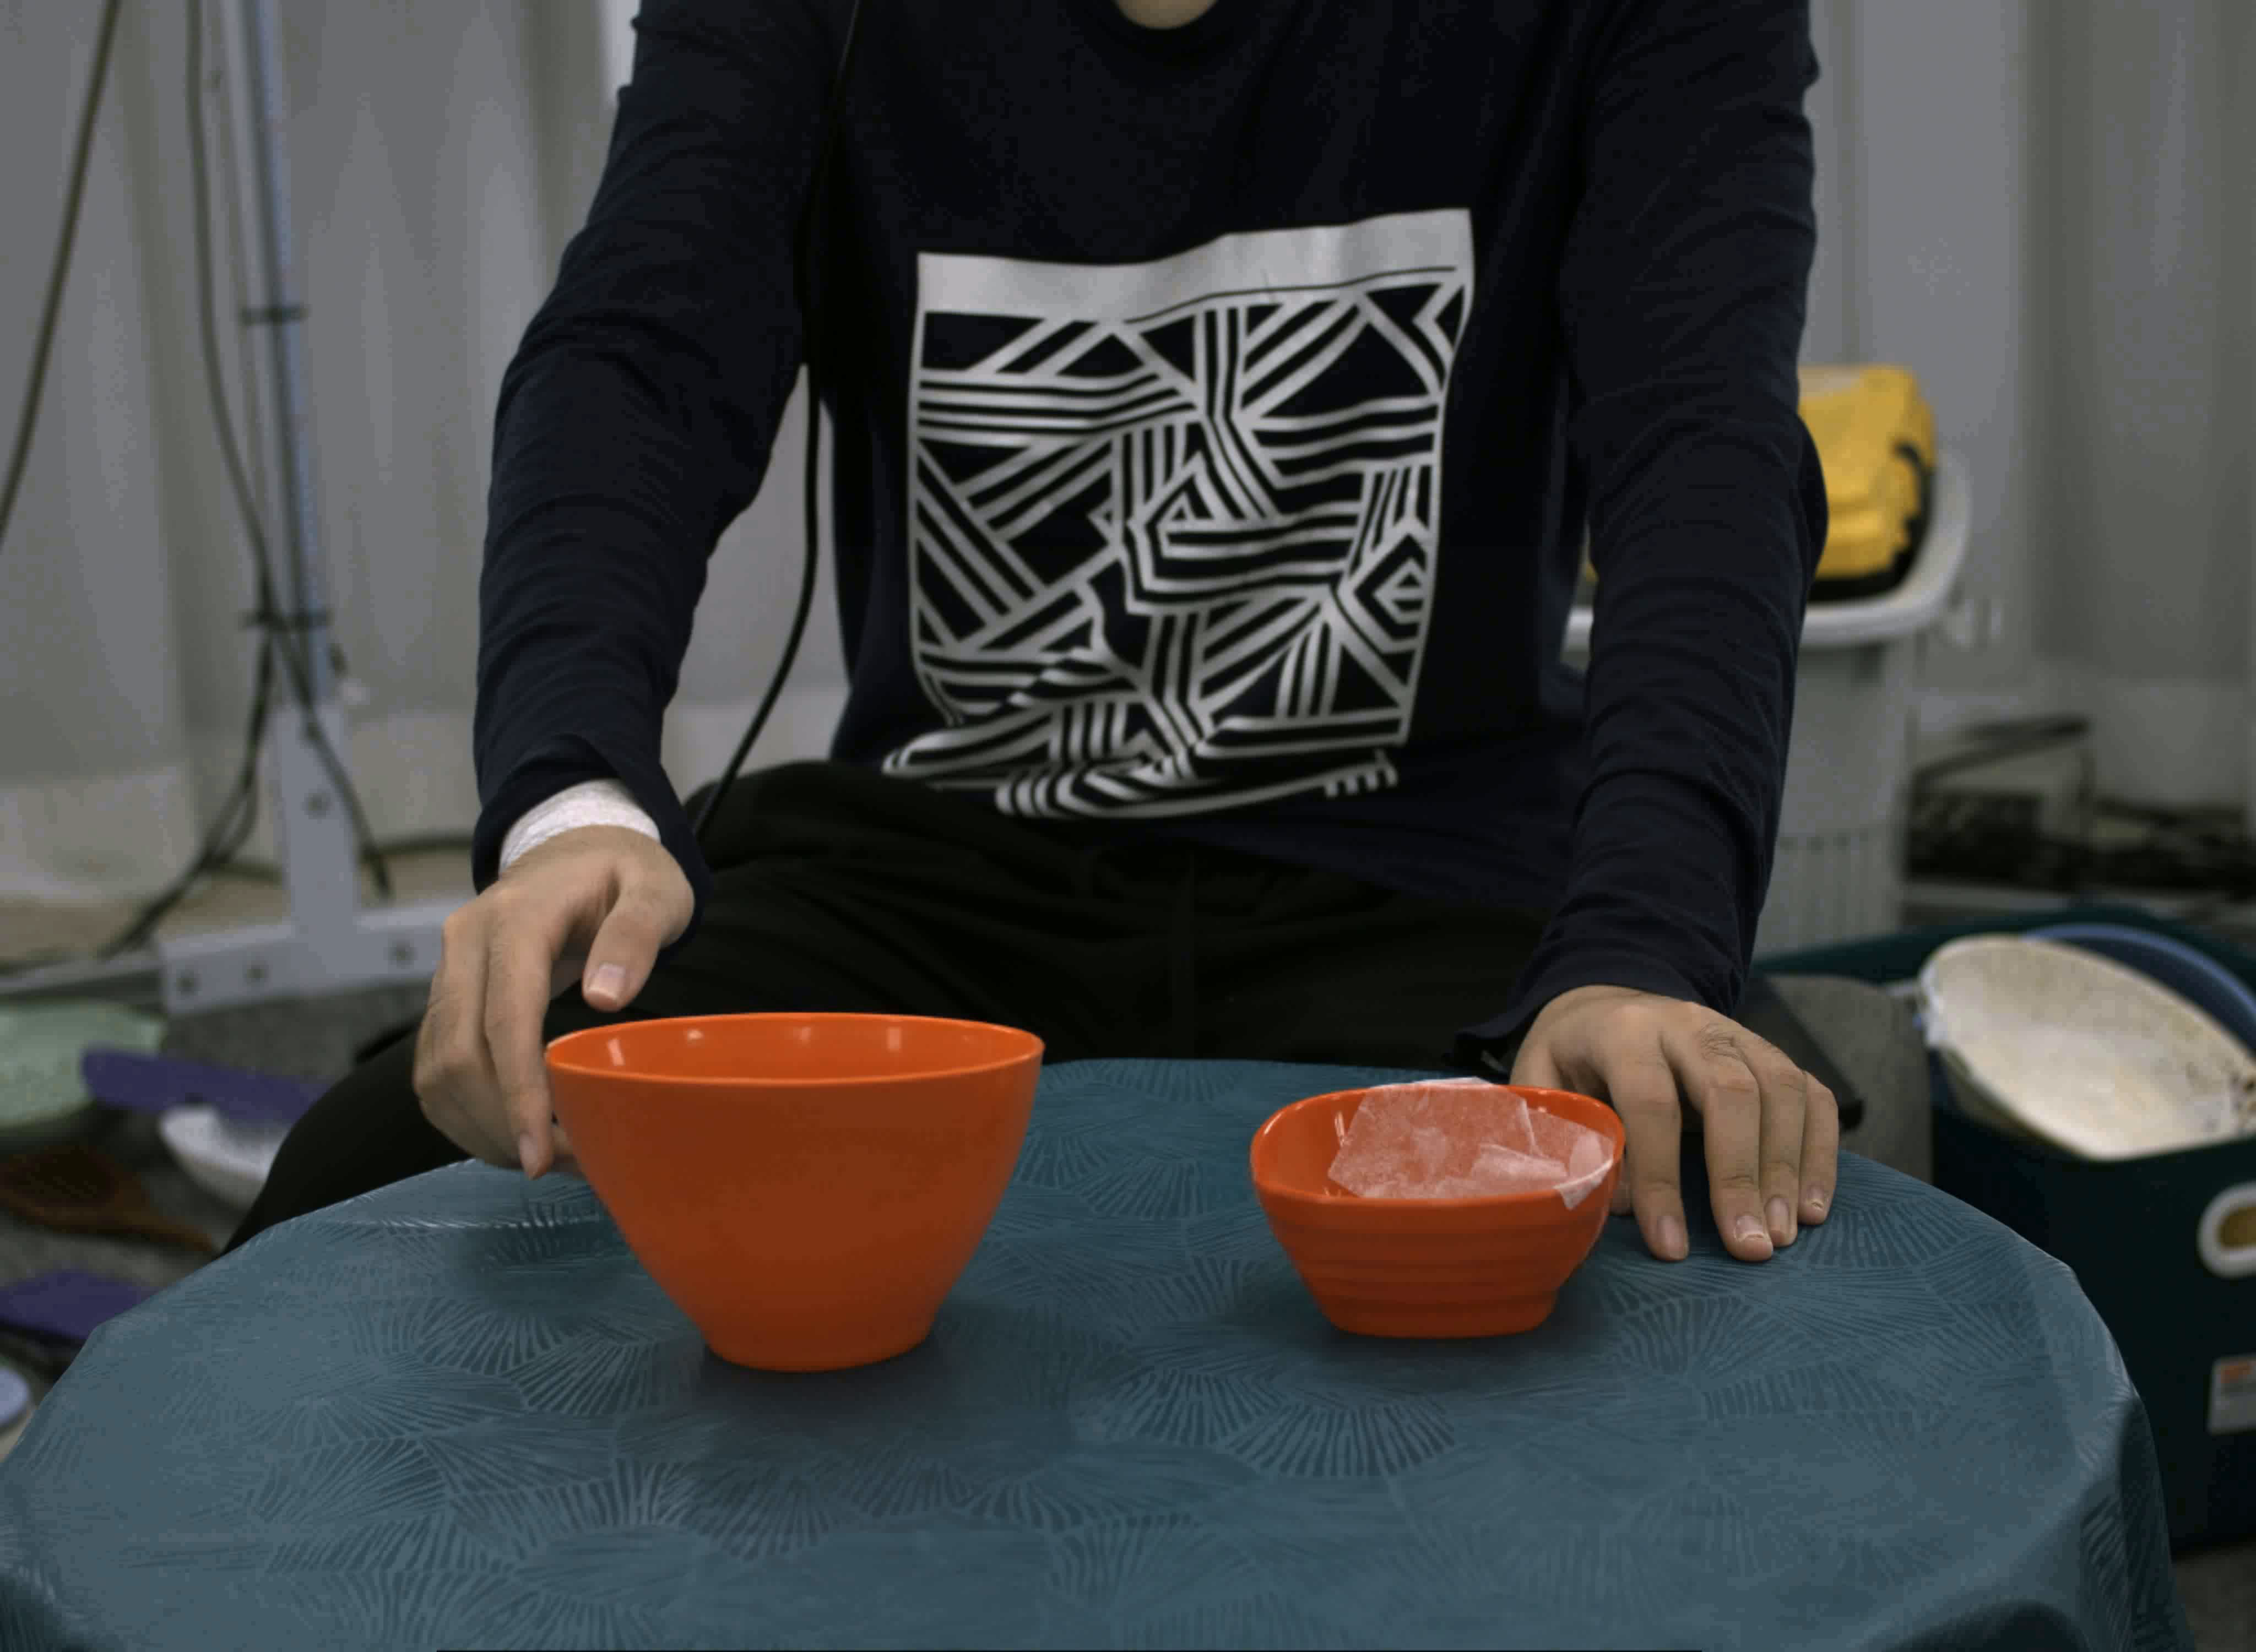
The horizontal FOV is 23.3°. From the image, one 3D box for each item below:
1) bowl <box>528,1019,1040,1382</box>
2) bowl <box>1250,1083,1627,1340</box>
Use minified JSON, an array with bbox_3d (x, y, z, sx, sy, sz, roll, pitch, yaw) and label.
[{"bbox_3d":[-0.097,0.105,1.582,0.147,0.104,0.149,-3,13,0],"label":"bowl"},{"bbox_3d":[0.092,0.115,1.600,0.118,0.051,0.119,-4,14,1],"label":"bowl"}]
